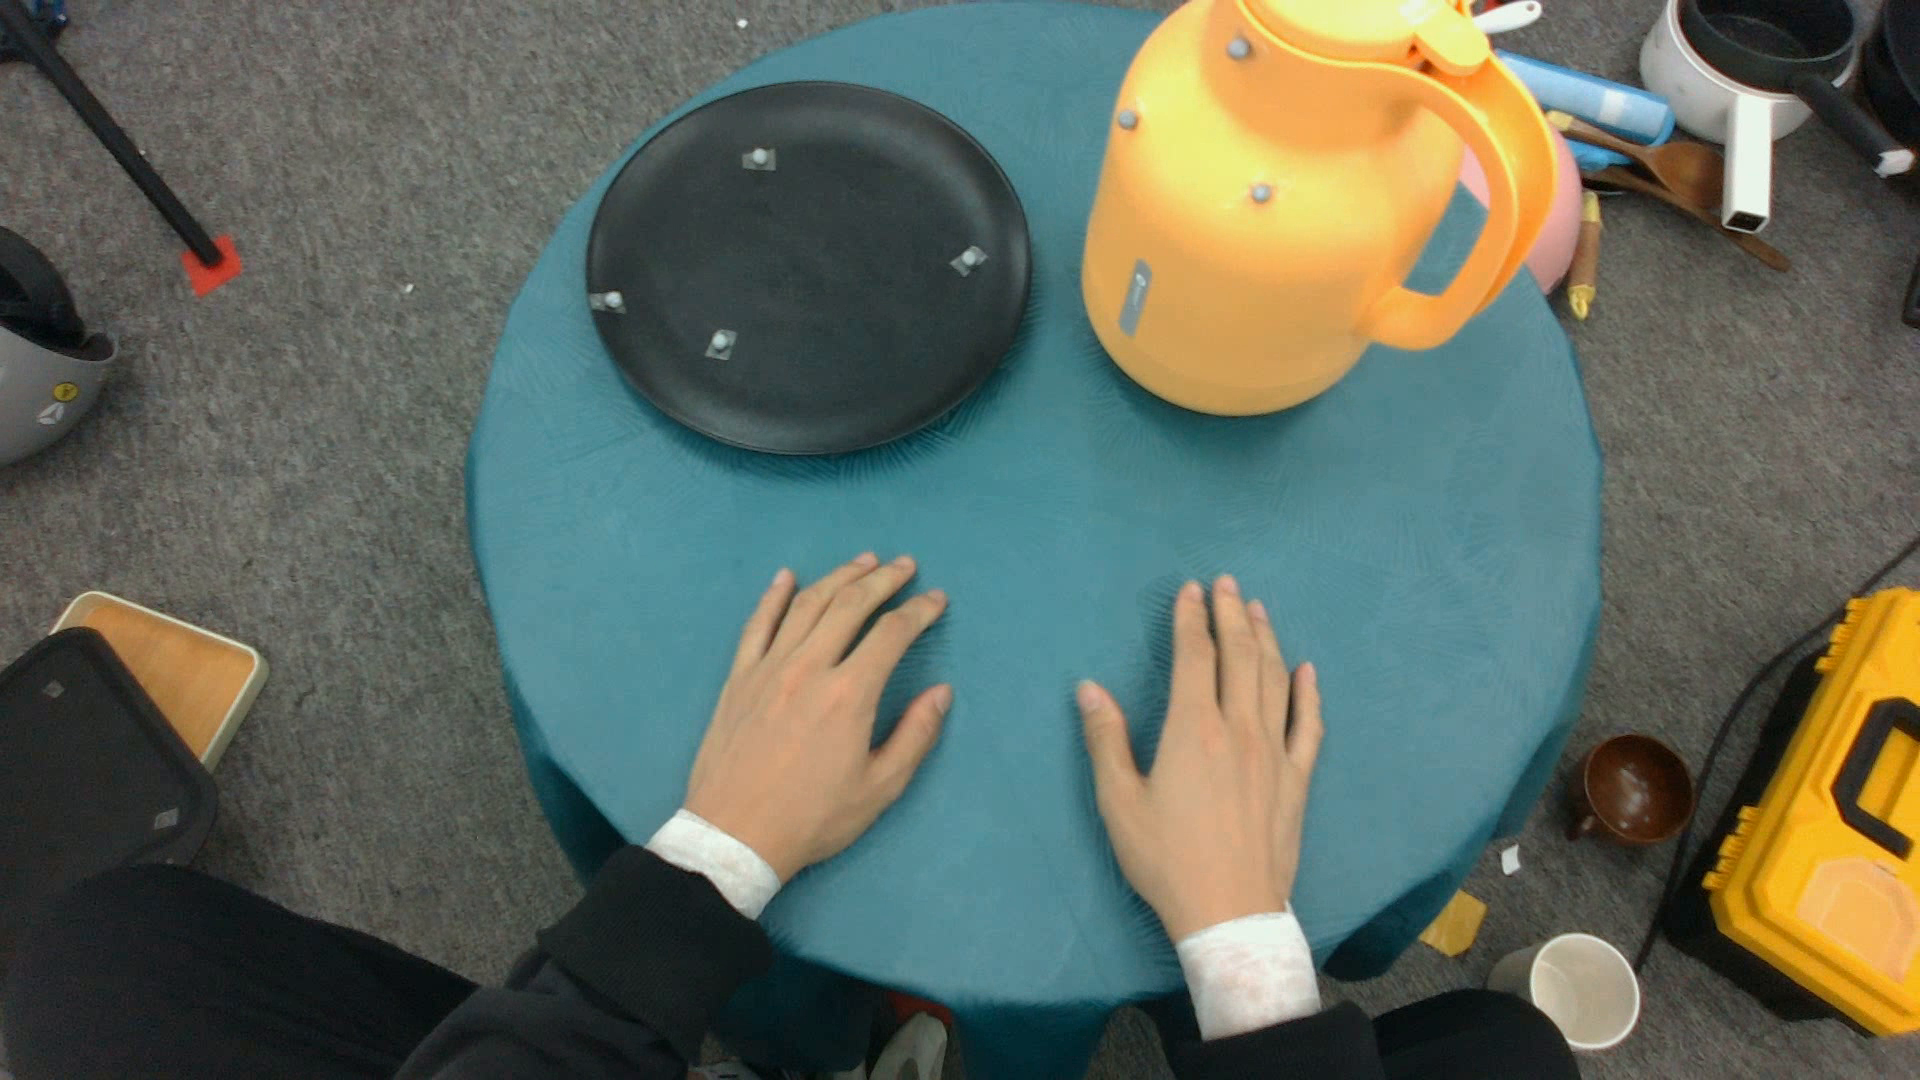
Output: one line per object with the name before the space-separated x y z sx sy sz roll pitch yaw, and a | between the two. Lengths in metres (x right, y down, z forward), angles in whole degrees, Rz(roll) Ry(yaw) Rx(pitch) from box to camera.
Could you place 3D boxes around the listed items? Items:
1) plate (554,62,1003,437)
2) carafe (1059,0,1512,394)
plate | -0.098 -0.161 0.759 0.244 0.023 0.245 1 66 -2
carafe | 0.147 -0.176 0.649 0.164 0.259 0.202 -38 72 -14
